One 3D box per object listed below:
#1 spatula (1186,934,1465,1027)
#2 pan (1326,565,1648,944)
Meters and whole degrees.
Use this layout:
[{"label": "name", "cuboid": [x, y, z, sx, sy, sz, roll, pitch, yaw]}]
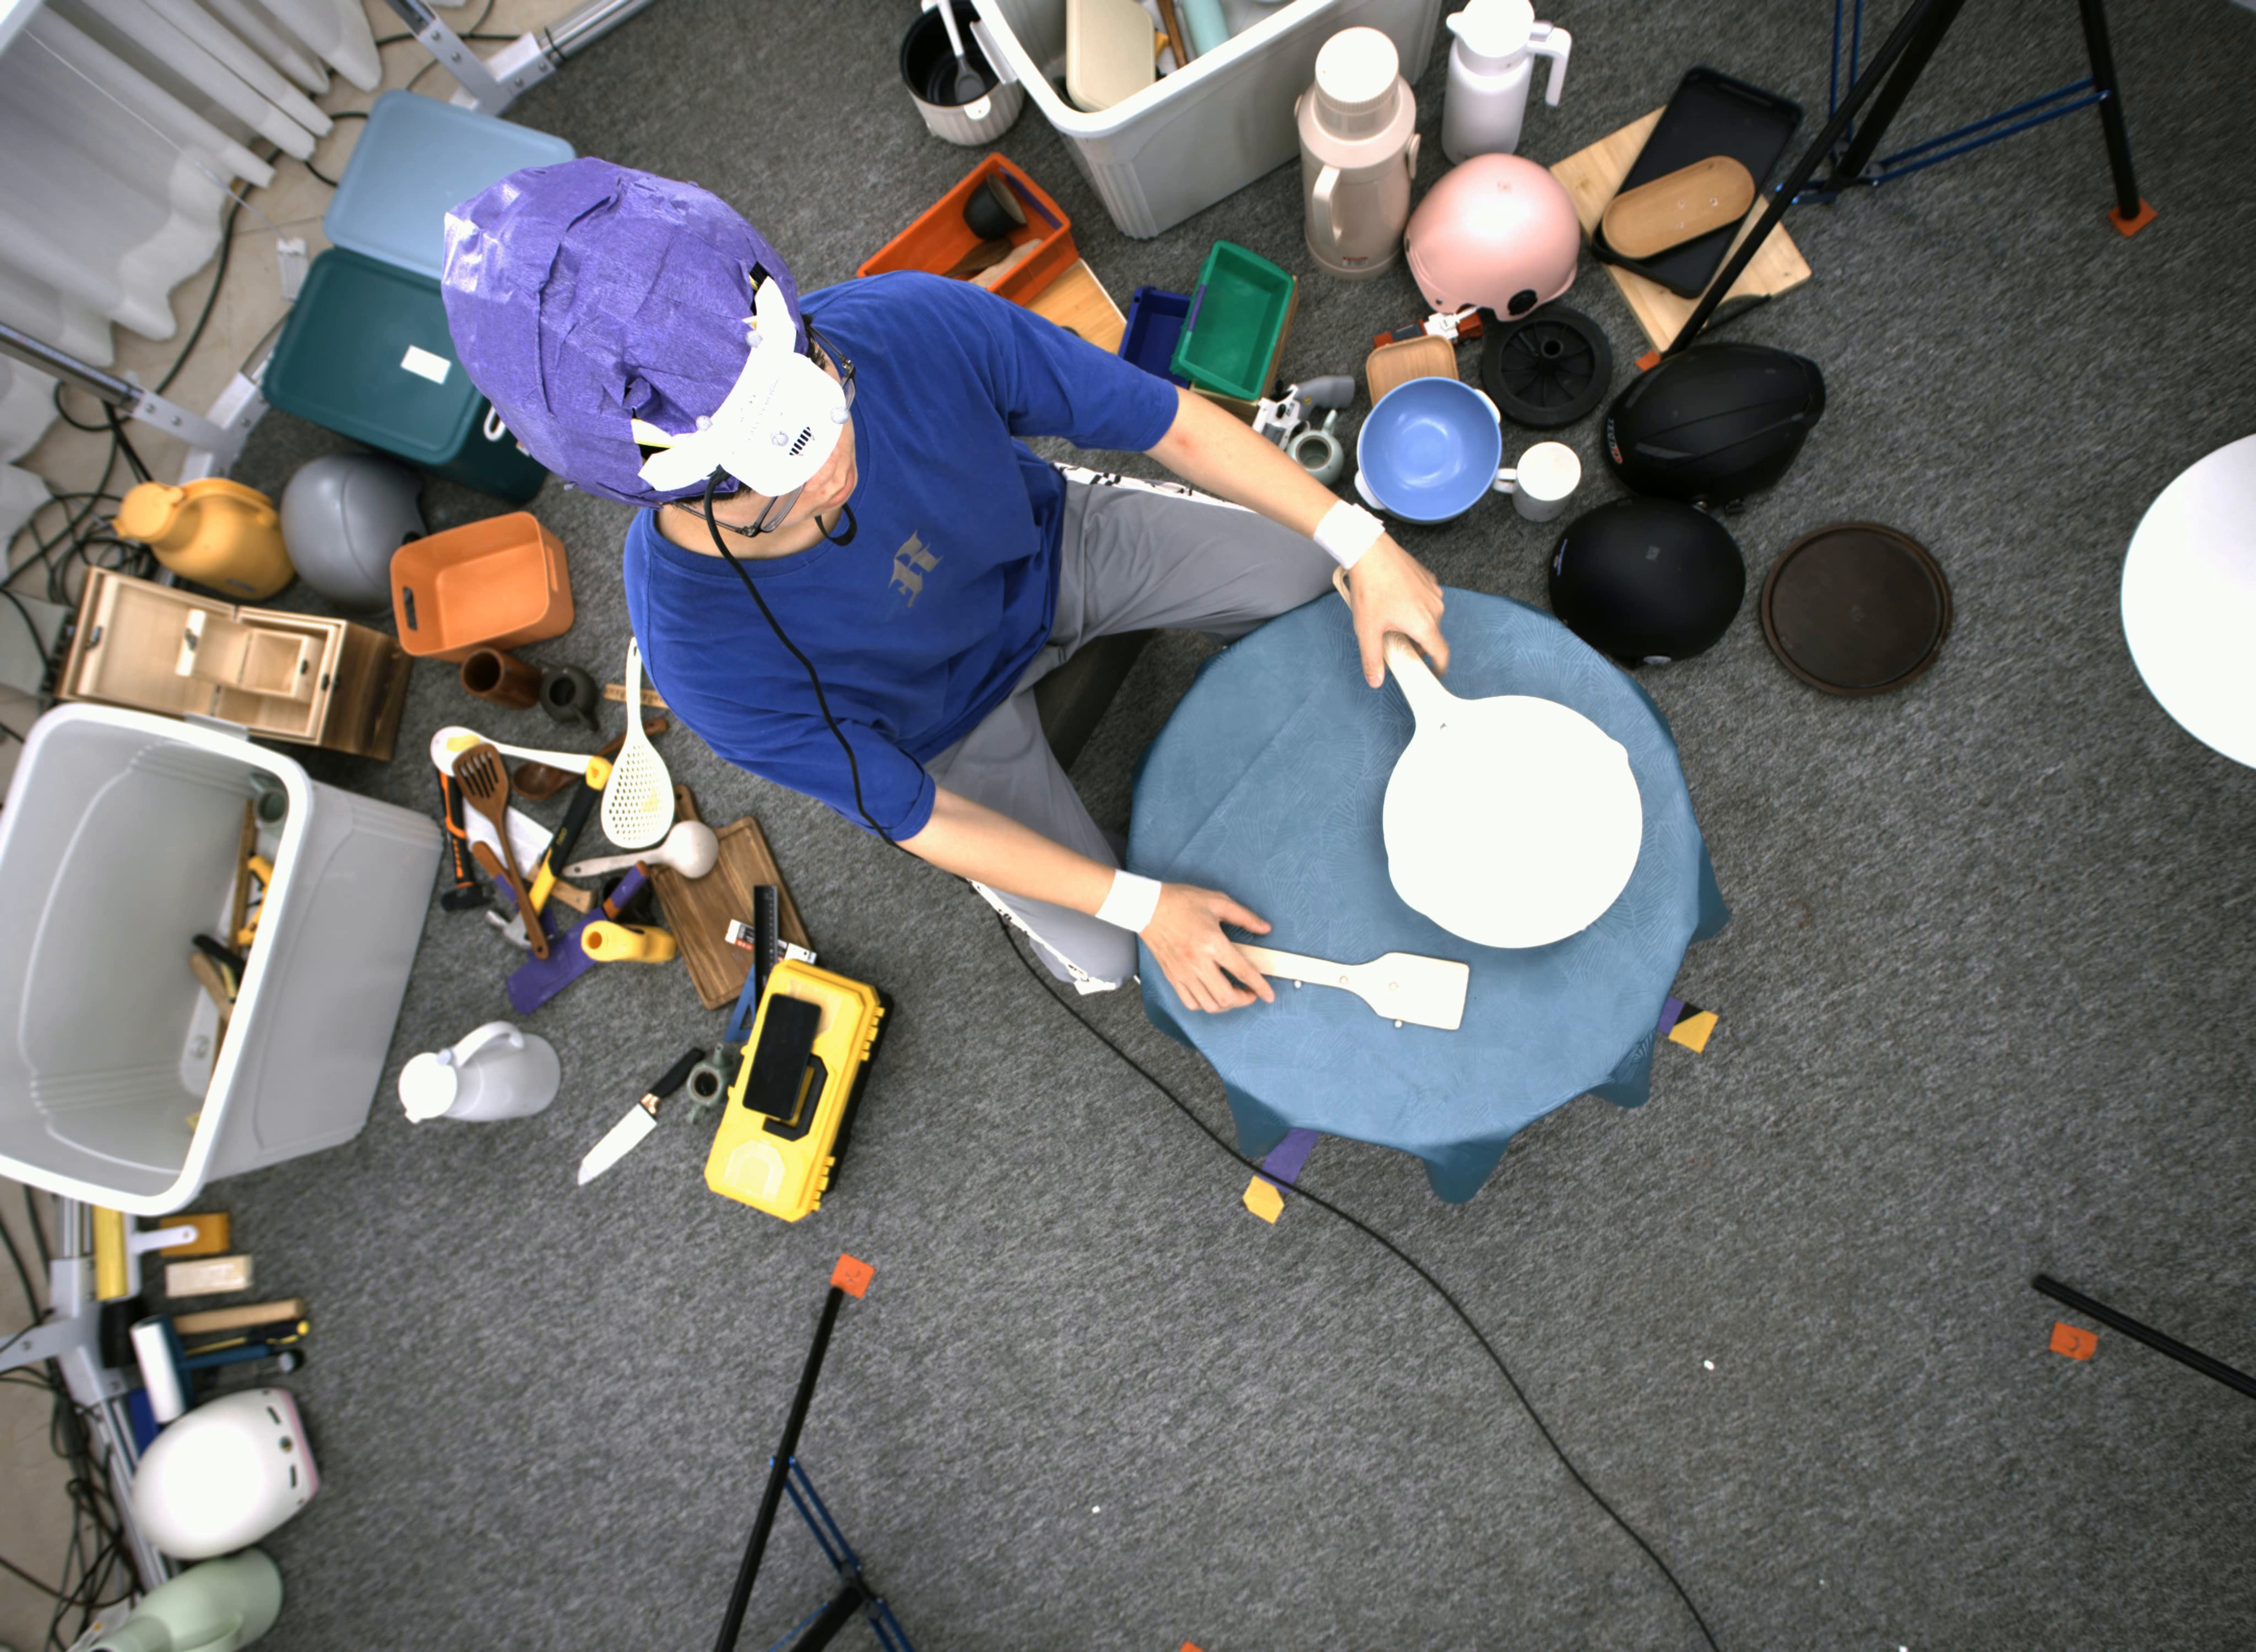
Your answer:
[{"label": "spatula", "cuboid": [0.204, 0.152, 1.461, 0.293, 0.010, 0.072, 9, 90, 10]}, {"label": "pan", "cuboid": [0.340, -0.083, 1.402, 0.265, 0.102, 0.432, -35, 81, 8]}]
